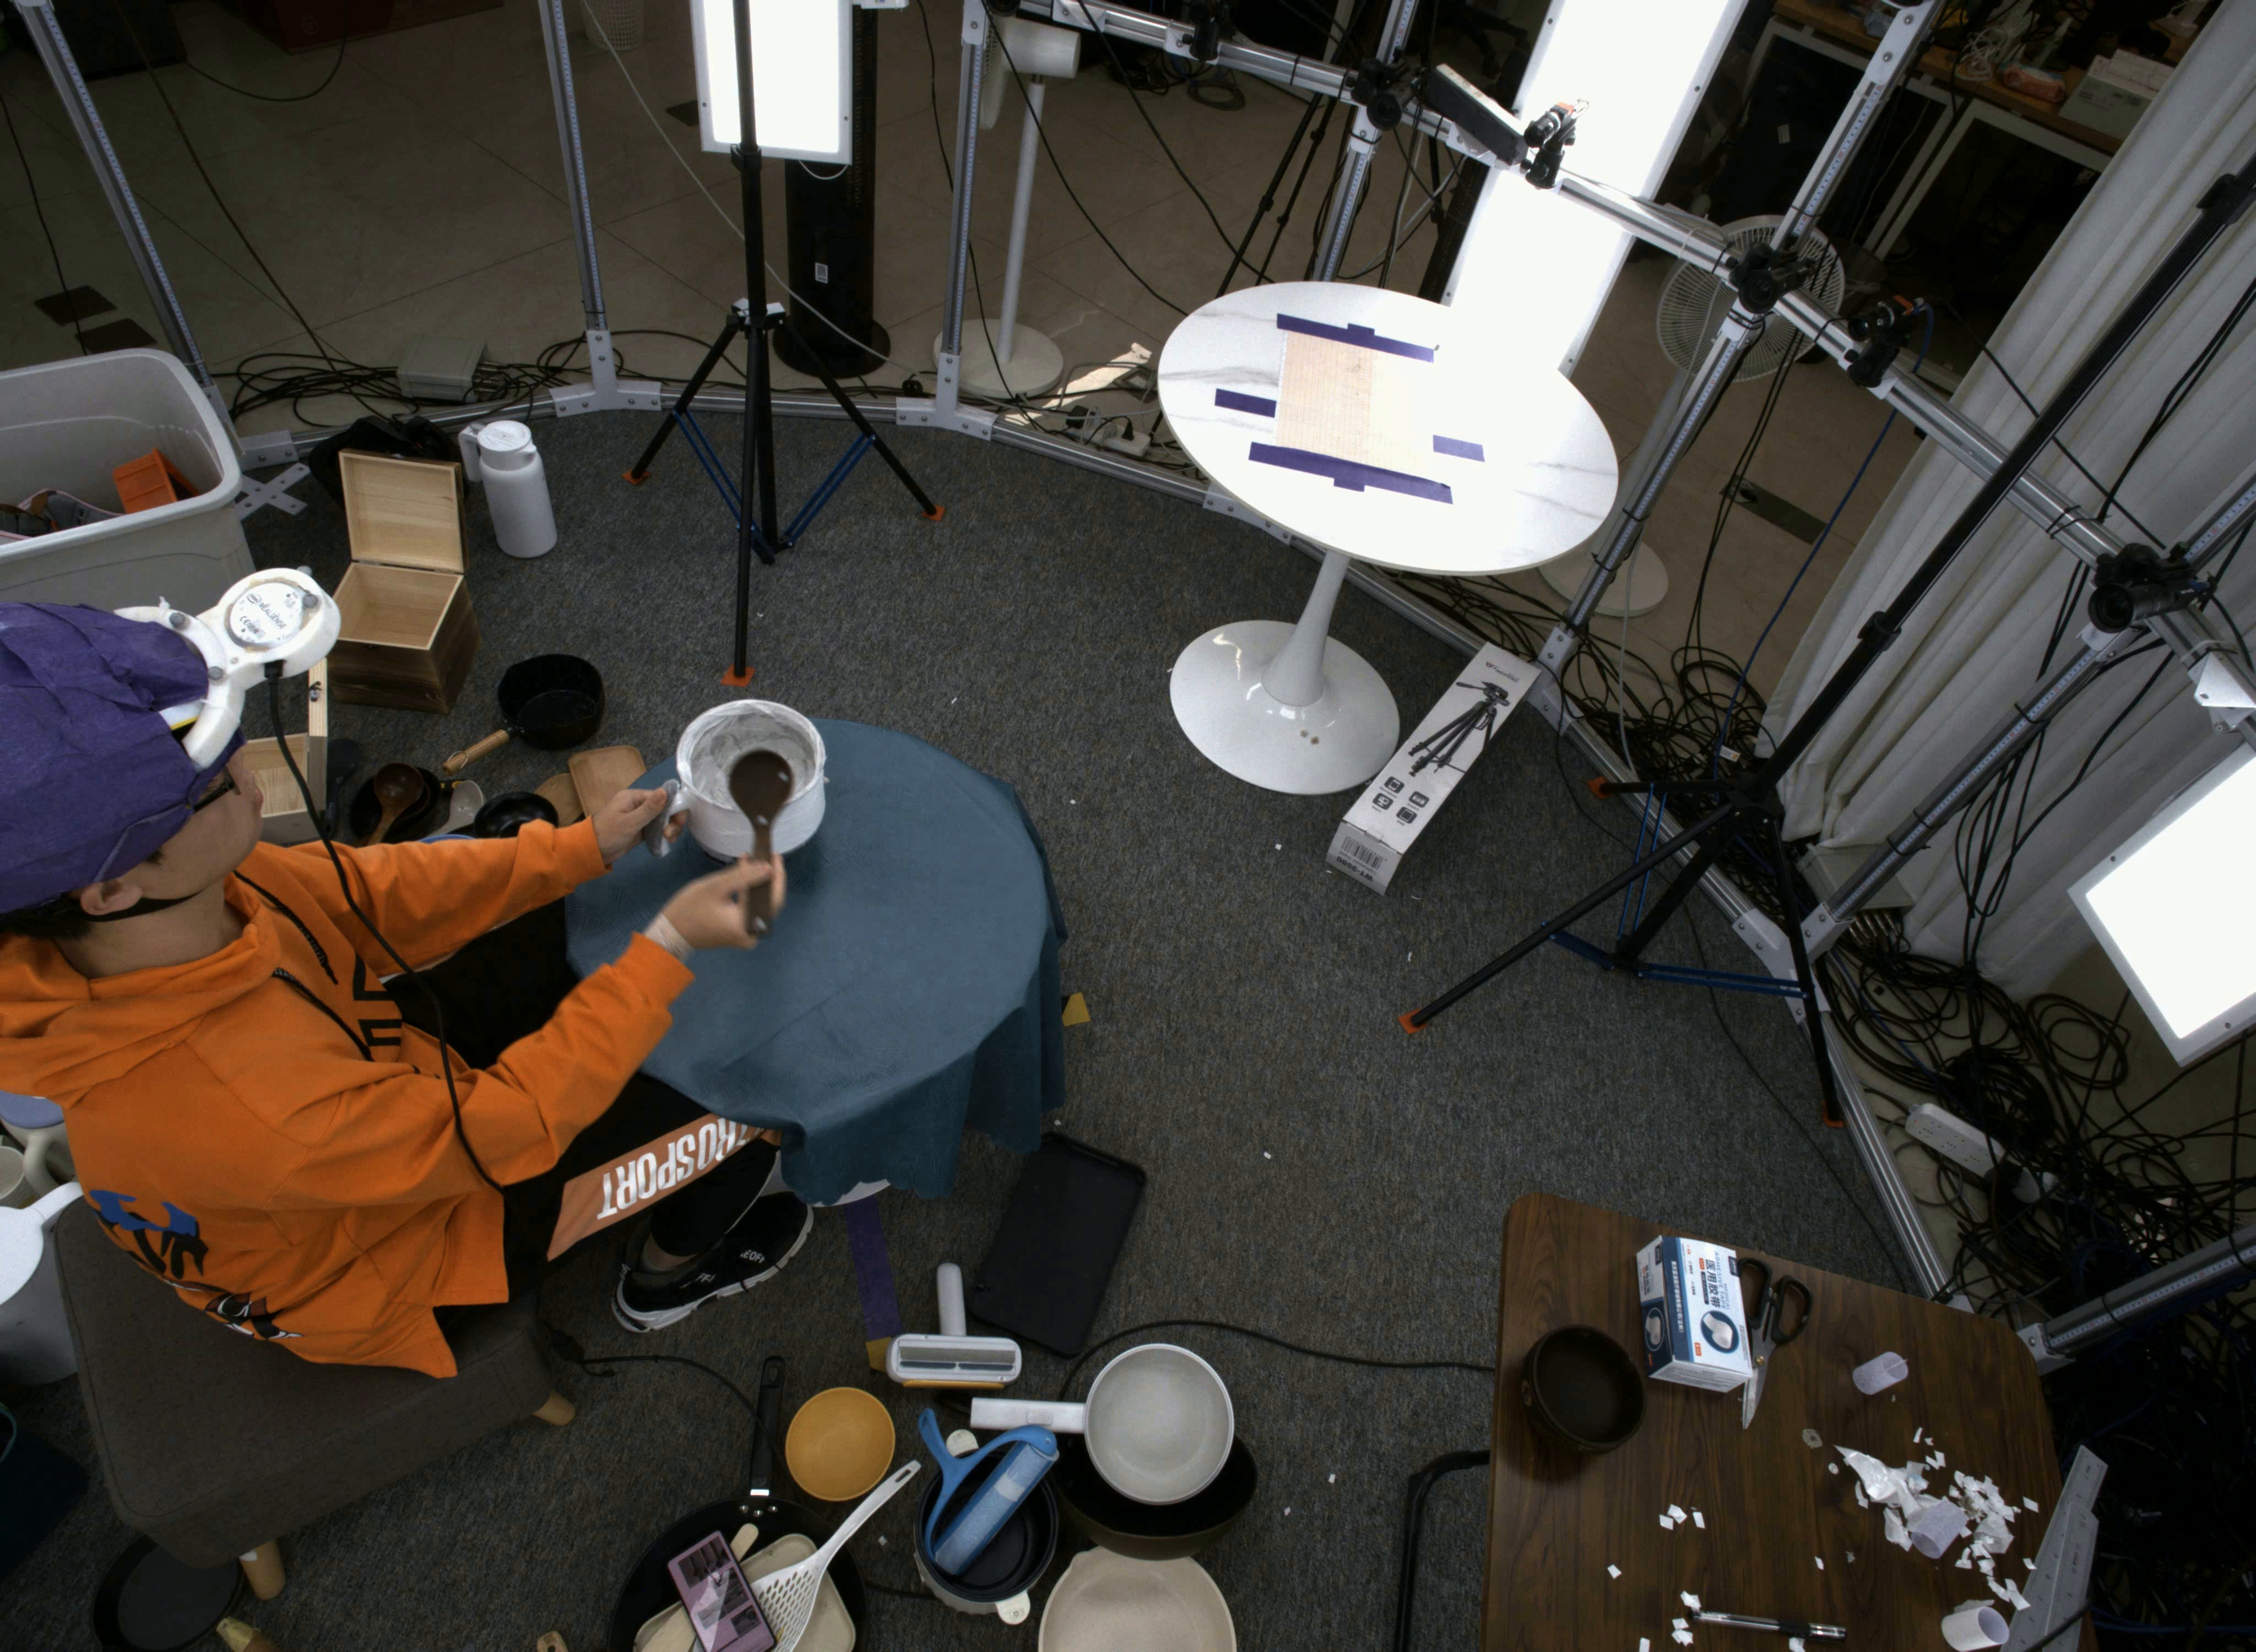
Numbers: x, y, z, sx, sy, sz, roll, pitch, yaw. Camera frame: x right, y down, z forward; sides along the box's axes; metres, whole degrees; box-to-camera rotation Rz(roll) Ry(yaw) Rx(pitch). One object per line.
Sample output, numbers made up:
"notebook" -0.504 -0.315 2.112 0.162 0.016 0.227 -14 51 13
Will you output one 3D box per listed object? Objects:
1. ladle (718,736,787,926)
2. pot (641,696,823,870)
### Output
"ladle" -0.400 -0.005 1.368 0.076 0.073 0.266 -6 34 -11
"pot" -0.490 -0.040 1.589 0.235 0.139 0.174 -28 64 -30
